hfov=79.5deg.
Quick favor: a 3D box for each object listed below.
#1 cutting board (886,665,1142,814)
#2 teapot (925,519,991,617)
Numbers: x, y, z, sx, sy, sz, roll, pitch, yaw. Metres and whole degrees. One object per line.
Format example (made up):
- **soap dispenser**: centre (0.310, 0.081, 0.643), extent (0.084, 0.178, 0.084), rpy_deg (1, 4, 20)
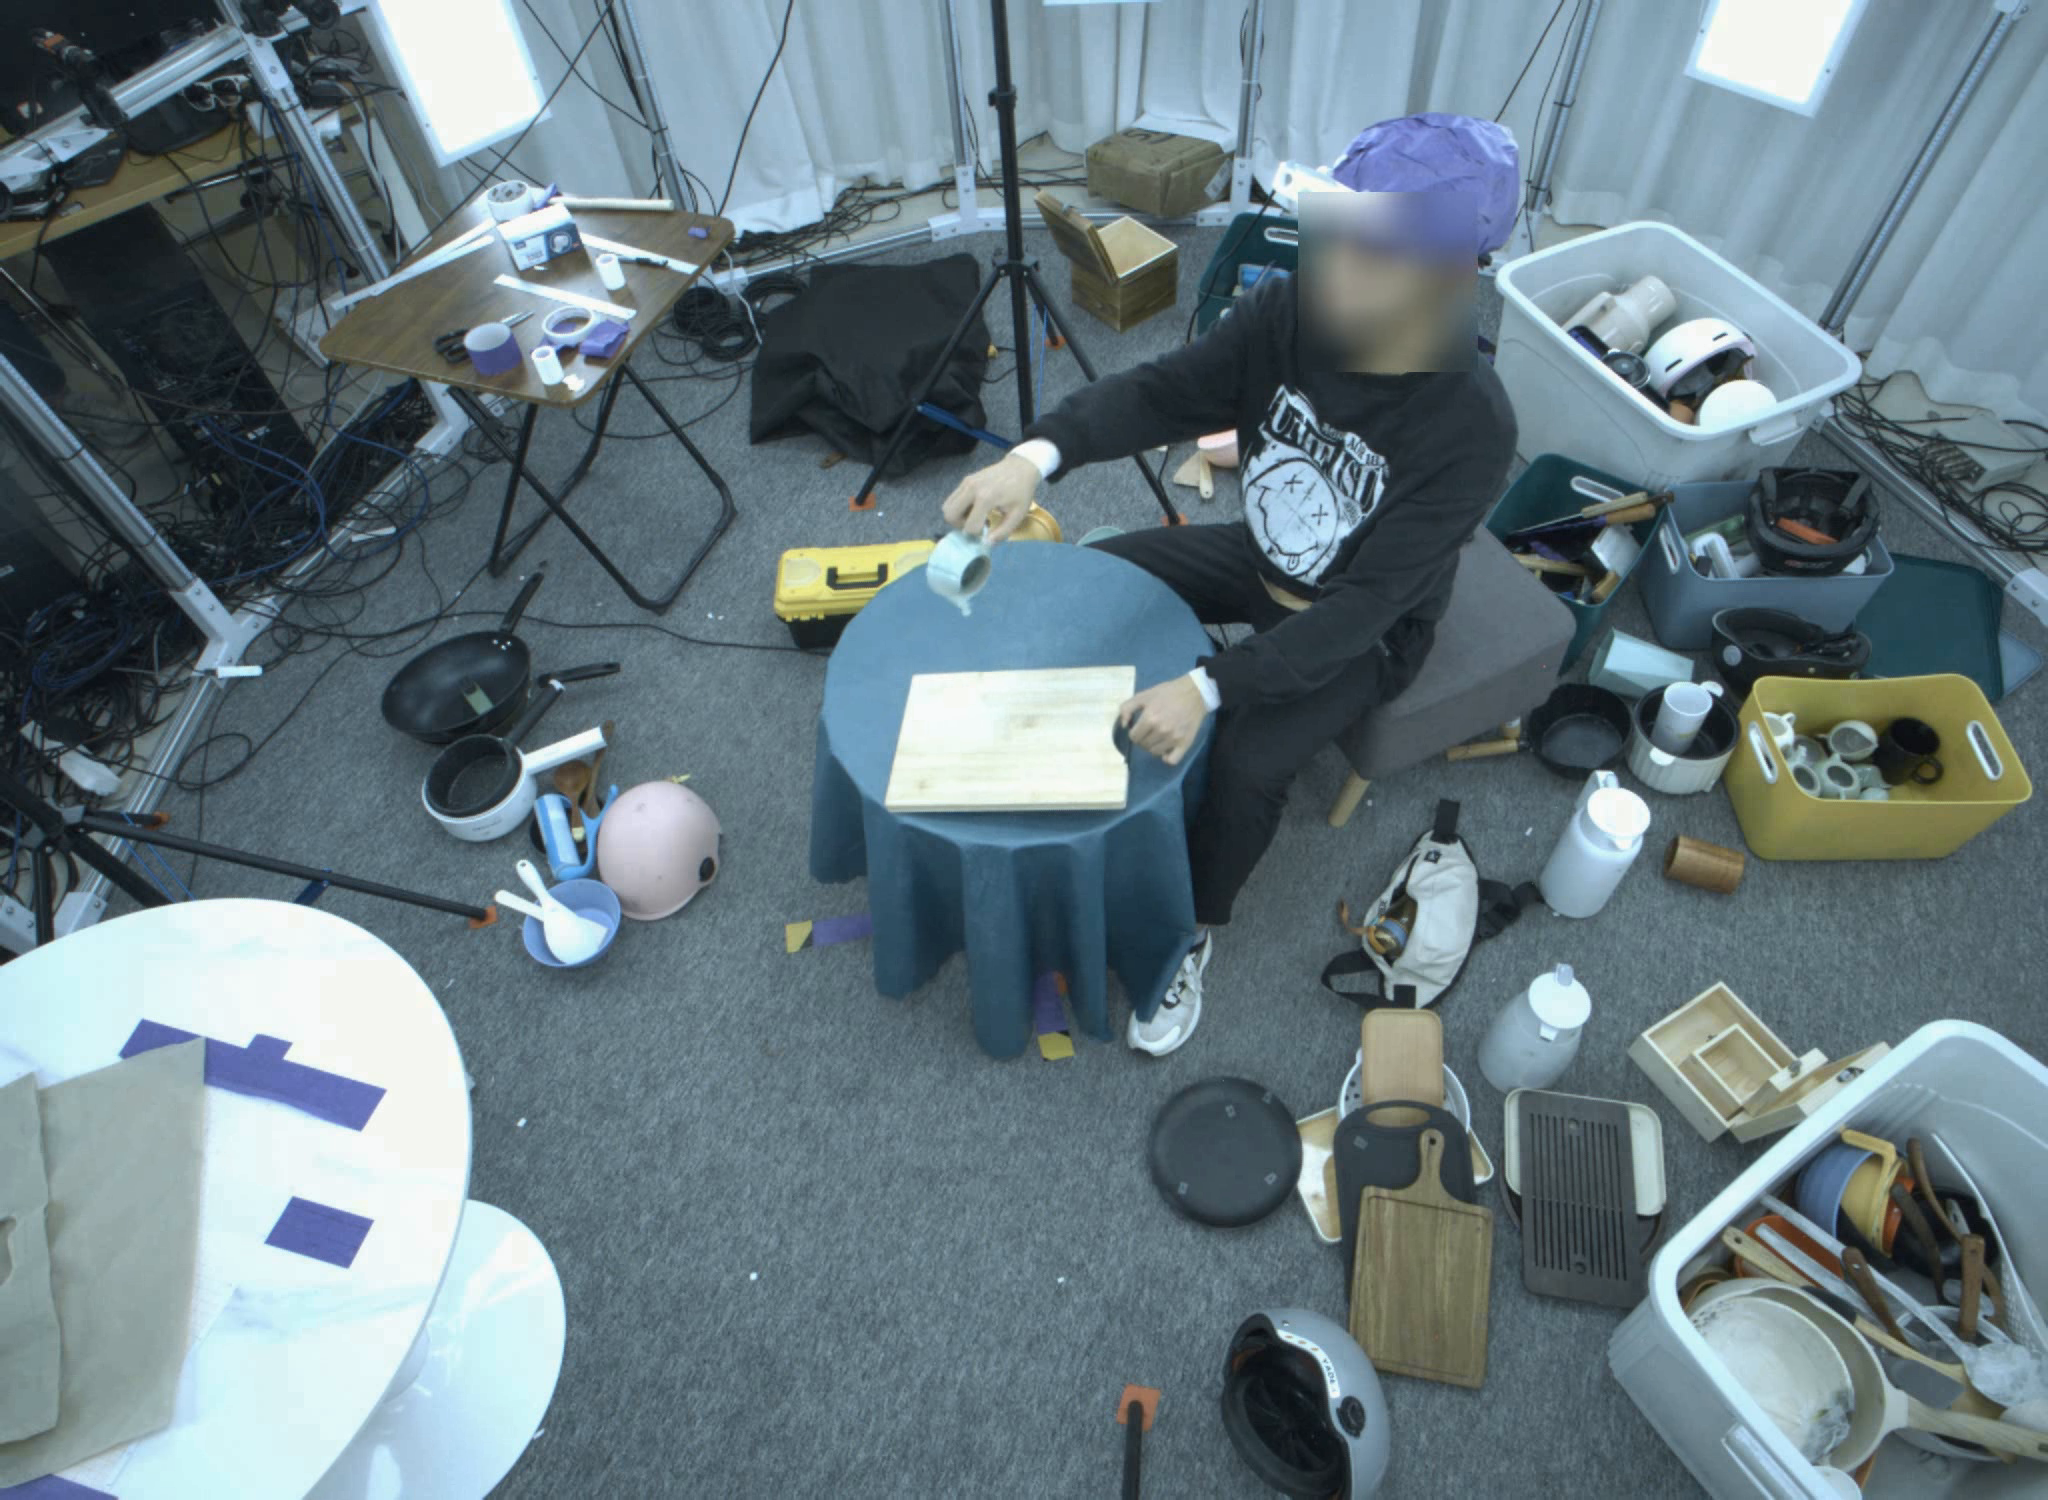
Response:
- **cutting board**: centre (-0.011, -0.017, 1.756), extent (0.346, 0.024, 0.248), rpy_deg (-2, 54, 11)
- **teapot**: centre (-0.084, -0.247, 1.623), extent (0.060, 0.137, 0.097), rpy_deg (35, 39, 26)
